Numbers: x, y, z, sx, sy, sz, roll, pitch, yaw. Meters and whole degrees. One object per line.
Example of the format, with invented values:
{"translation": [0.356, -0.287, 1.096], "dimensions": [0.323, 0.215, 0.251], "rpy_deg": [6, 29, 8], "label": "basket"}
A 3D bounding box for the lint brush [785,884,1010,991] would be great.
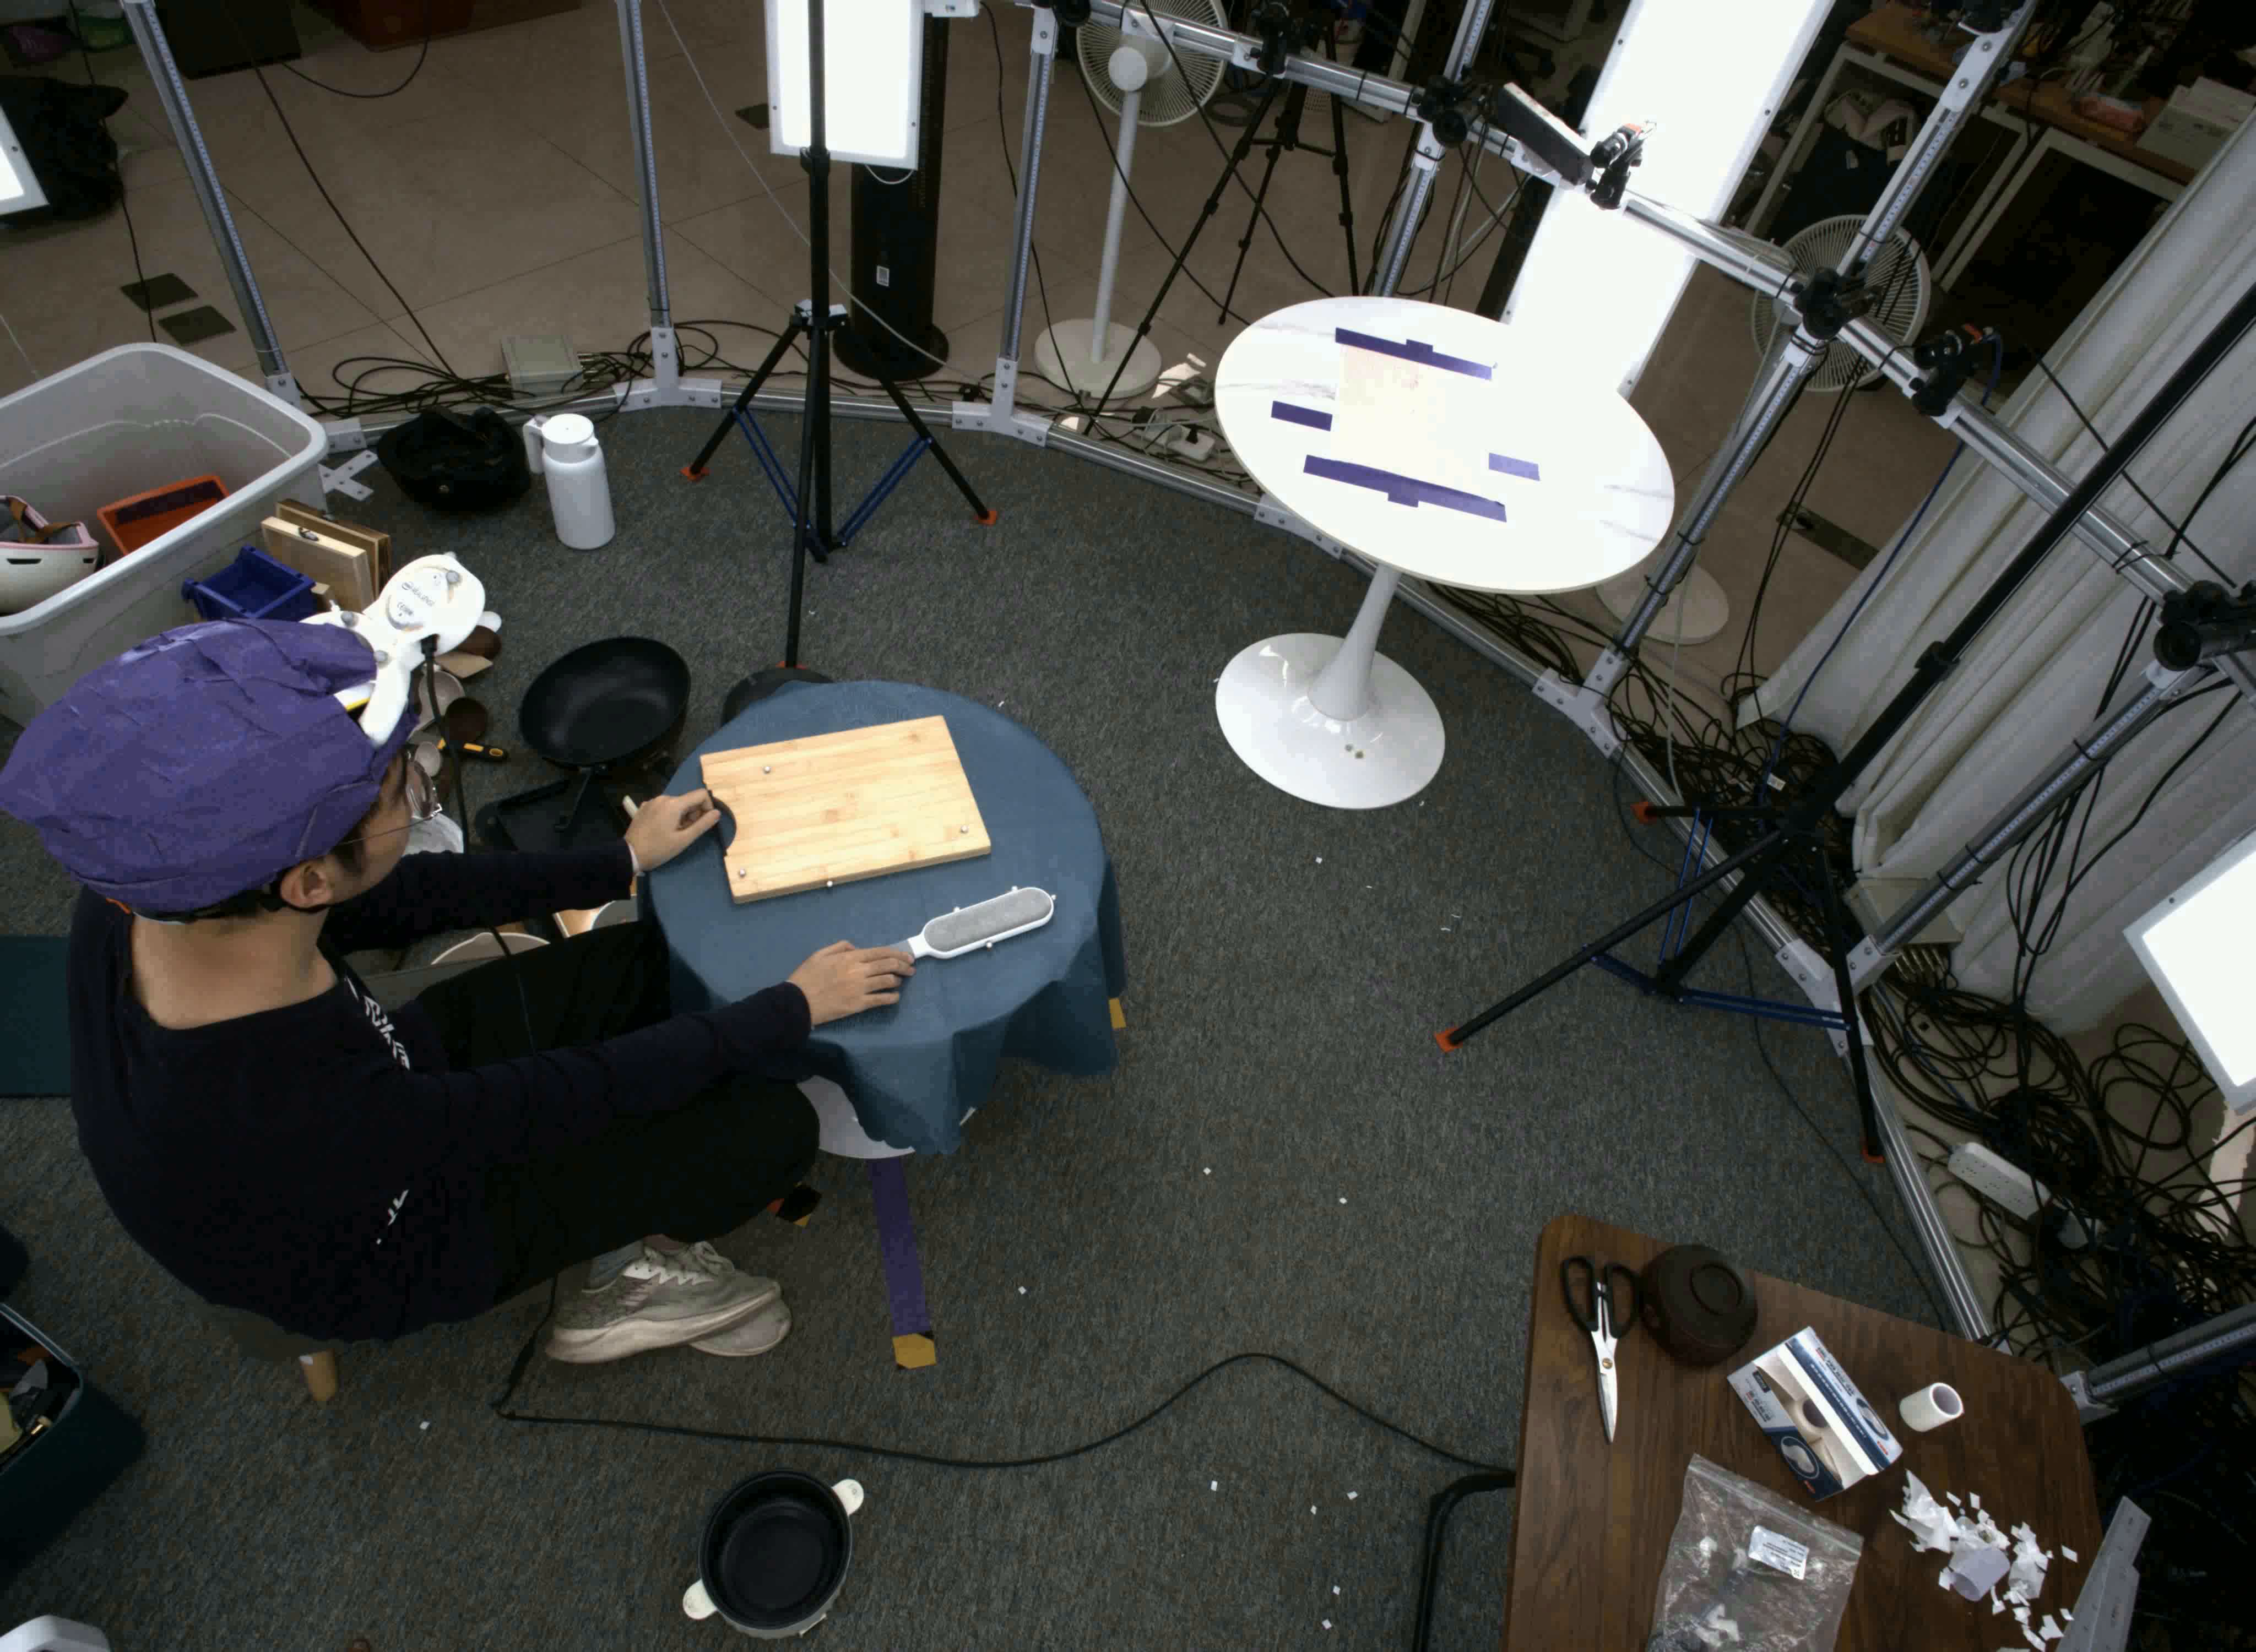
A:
{"translation": [-0.288, 0.140, 1.649], "dimensions": [0.310, 0.021, 0.059], "rpy_deg": [-21, 67, -26], "label": "lint brush"}

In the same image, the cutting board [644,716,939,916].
{"translation": [-0.449, -0.023, 1.735], "dimensions": [0.350, 0.024, 0.244], "rpy_deg": [-15, 58, -24], "label": "cutting board"}
